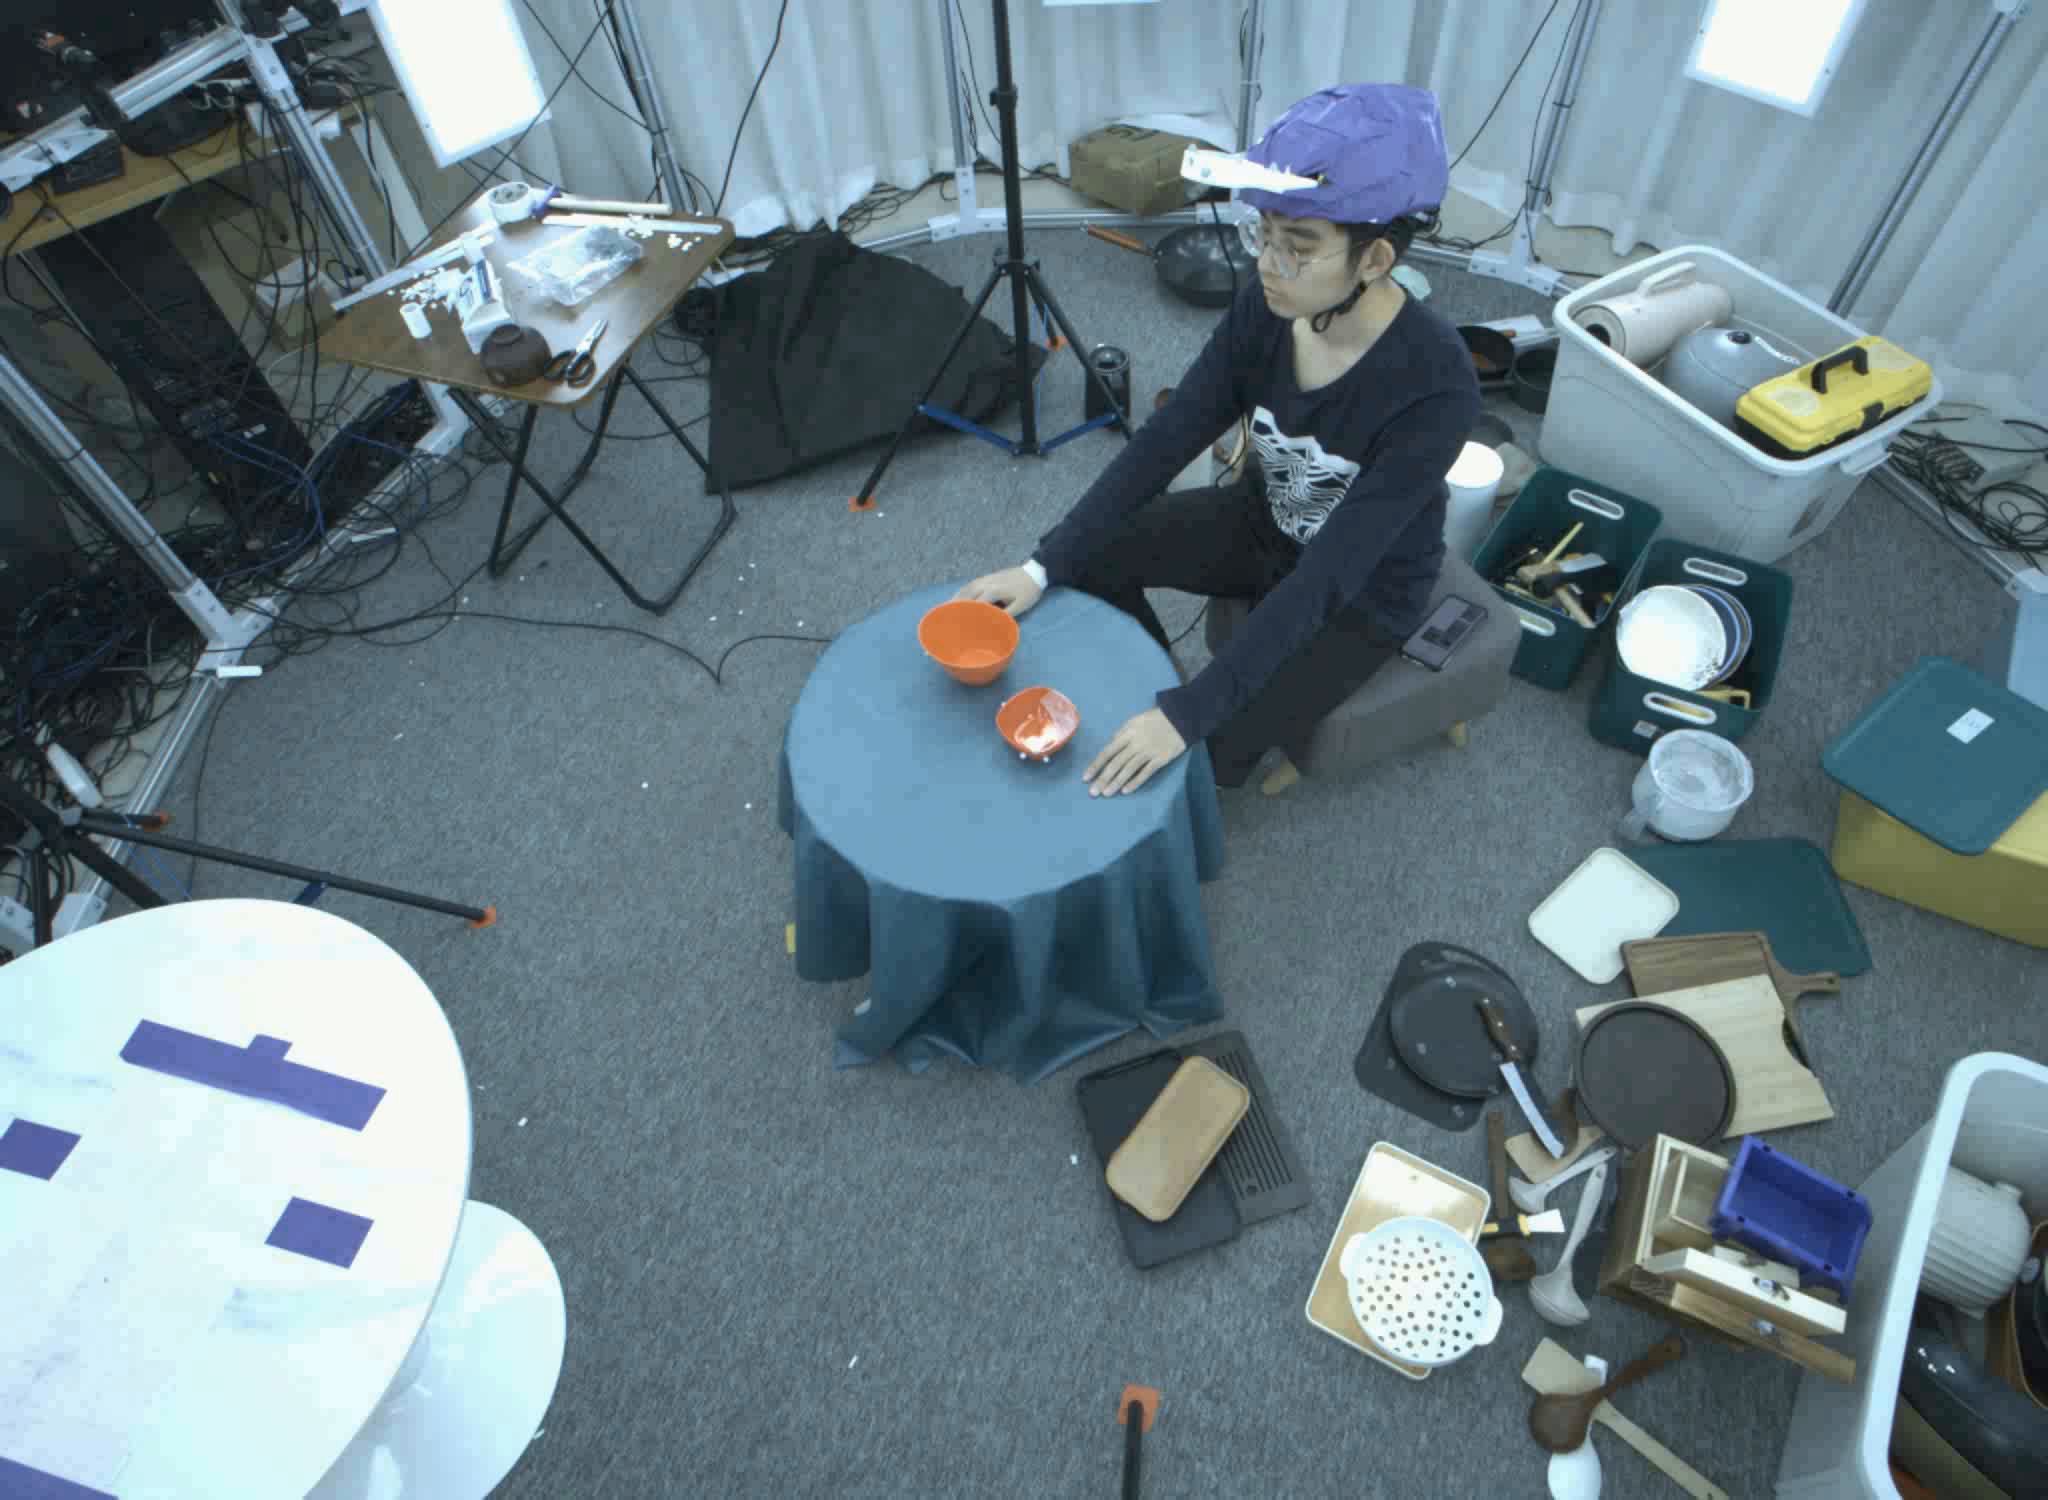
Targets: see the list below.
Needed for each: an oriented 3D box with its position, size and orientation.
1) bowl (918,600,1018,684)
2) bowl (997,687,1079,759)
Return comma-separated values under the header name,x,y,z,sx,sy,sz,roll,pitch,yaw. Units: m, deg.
name,x,y,z,sx,sy,sz,roll,pitch,yaw
bowl,-0.081,-0.150,1.842,0.148,0.106,0.146,-1,54,2
bowl,0.021,-0.032,1.786,0.119,0.052,0.117,0,53,2
